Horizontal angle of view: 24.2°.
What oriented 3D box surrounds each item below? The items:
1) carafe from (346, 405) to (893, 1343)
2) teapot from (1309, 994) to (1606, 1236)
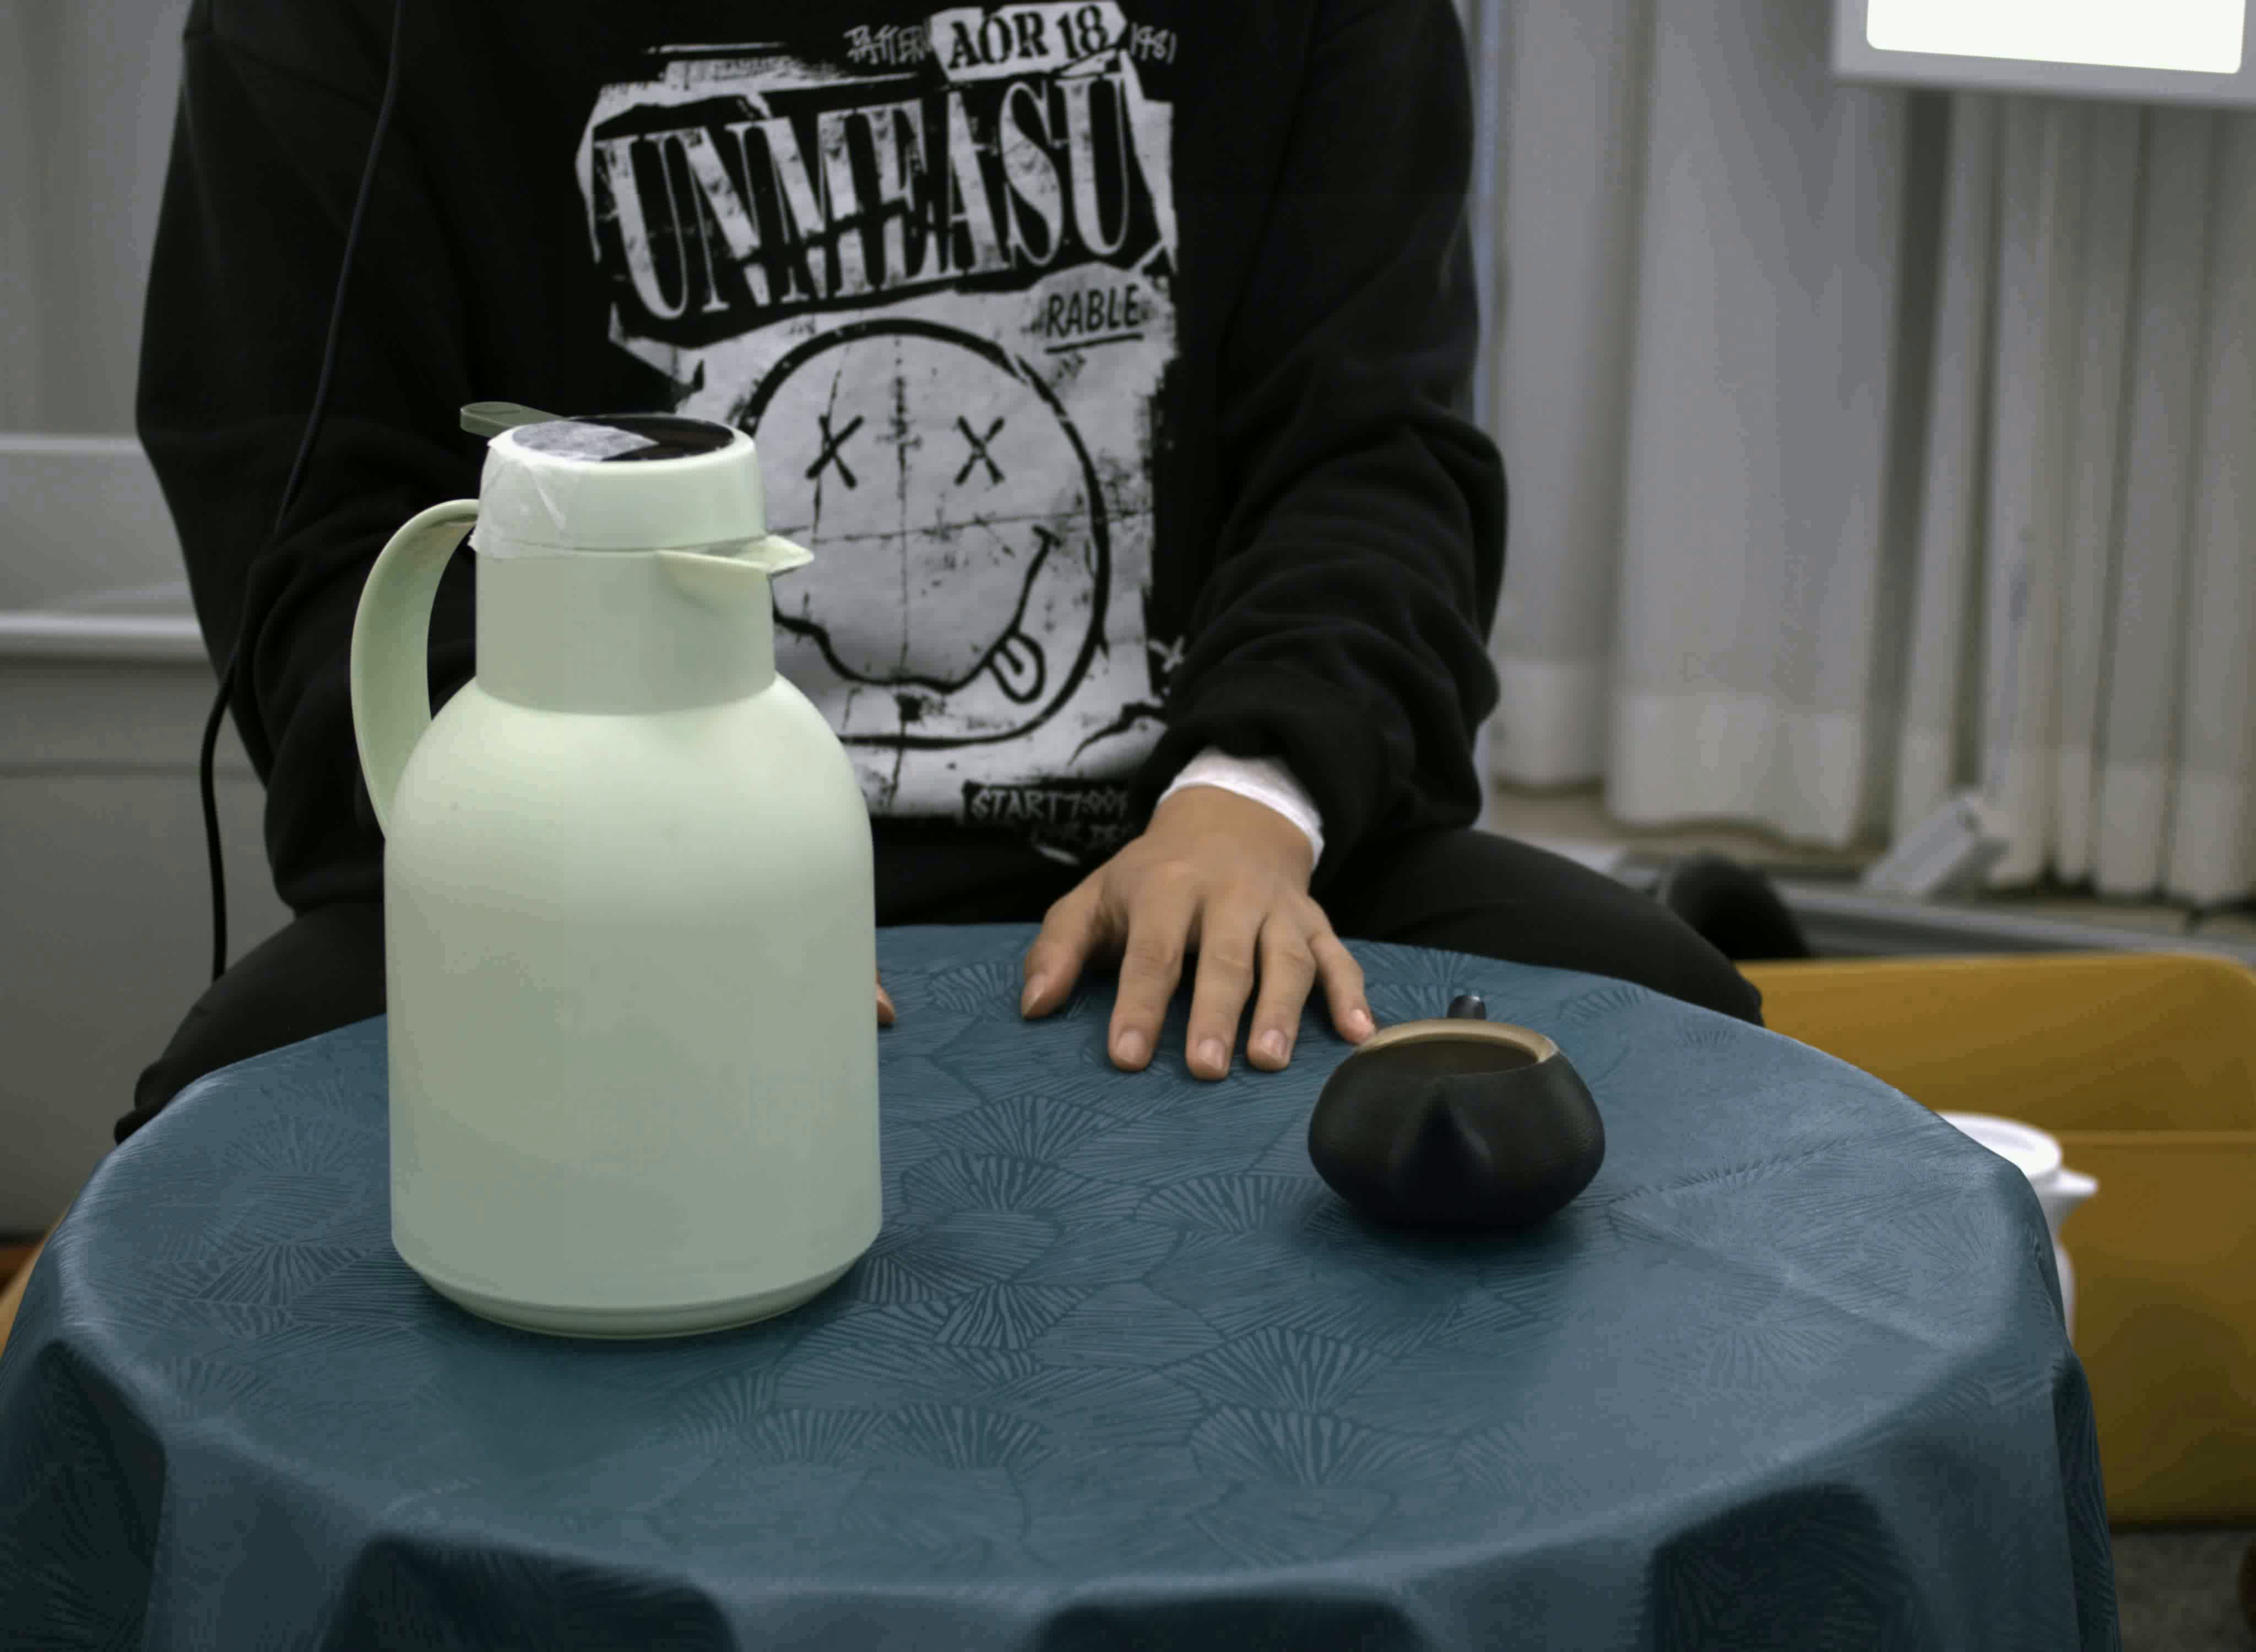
[{"bbox_3d":[-0.154,0.008,1.527,0.184,0.259,0.145,10,20,41],"label":"carafe"},{"bbox_3d":[0.100,0.091,1.601,0.090,0.053,0.133,4,16,7],"label":"teapot"}]
